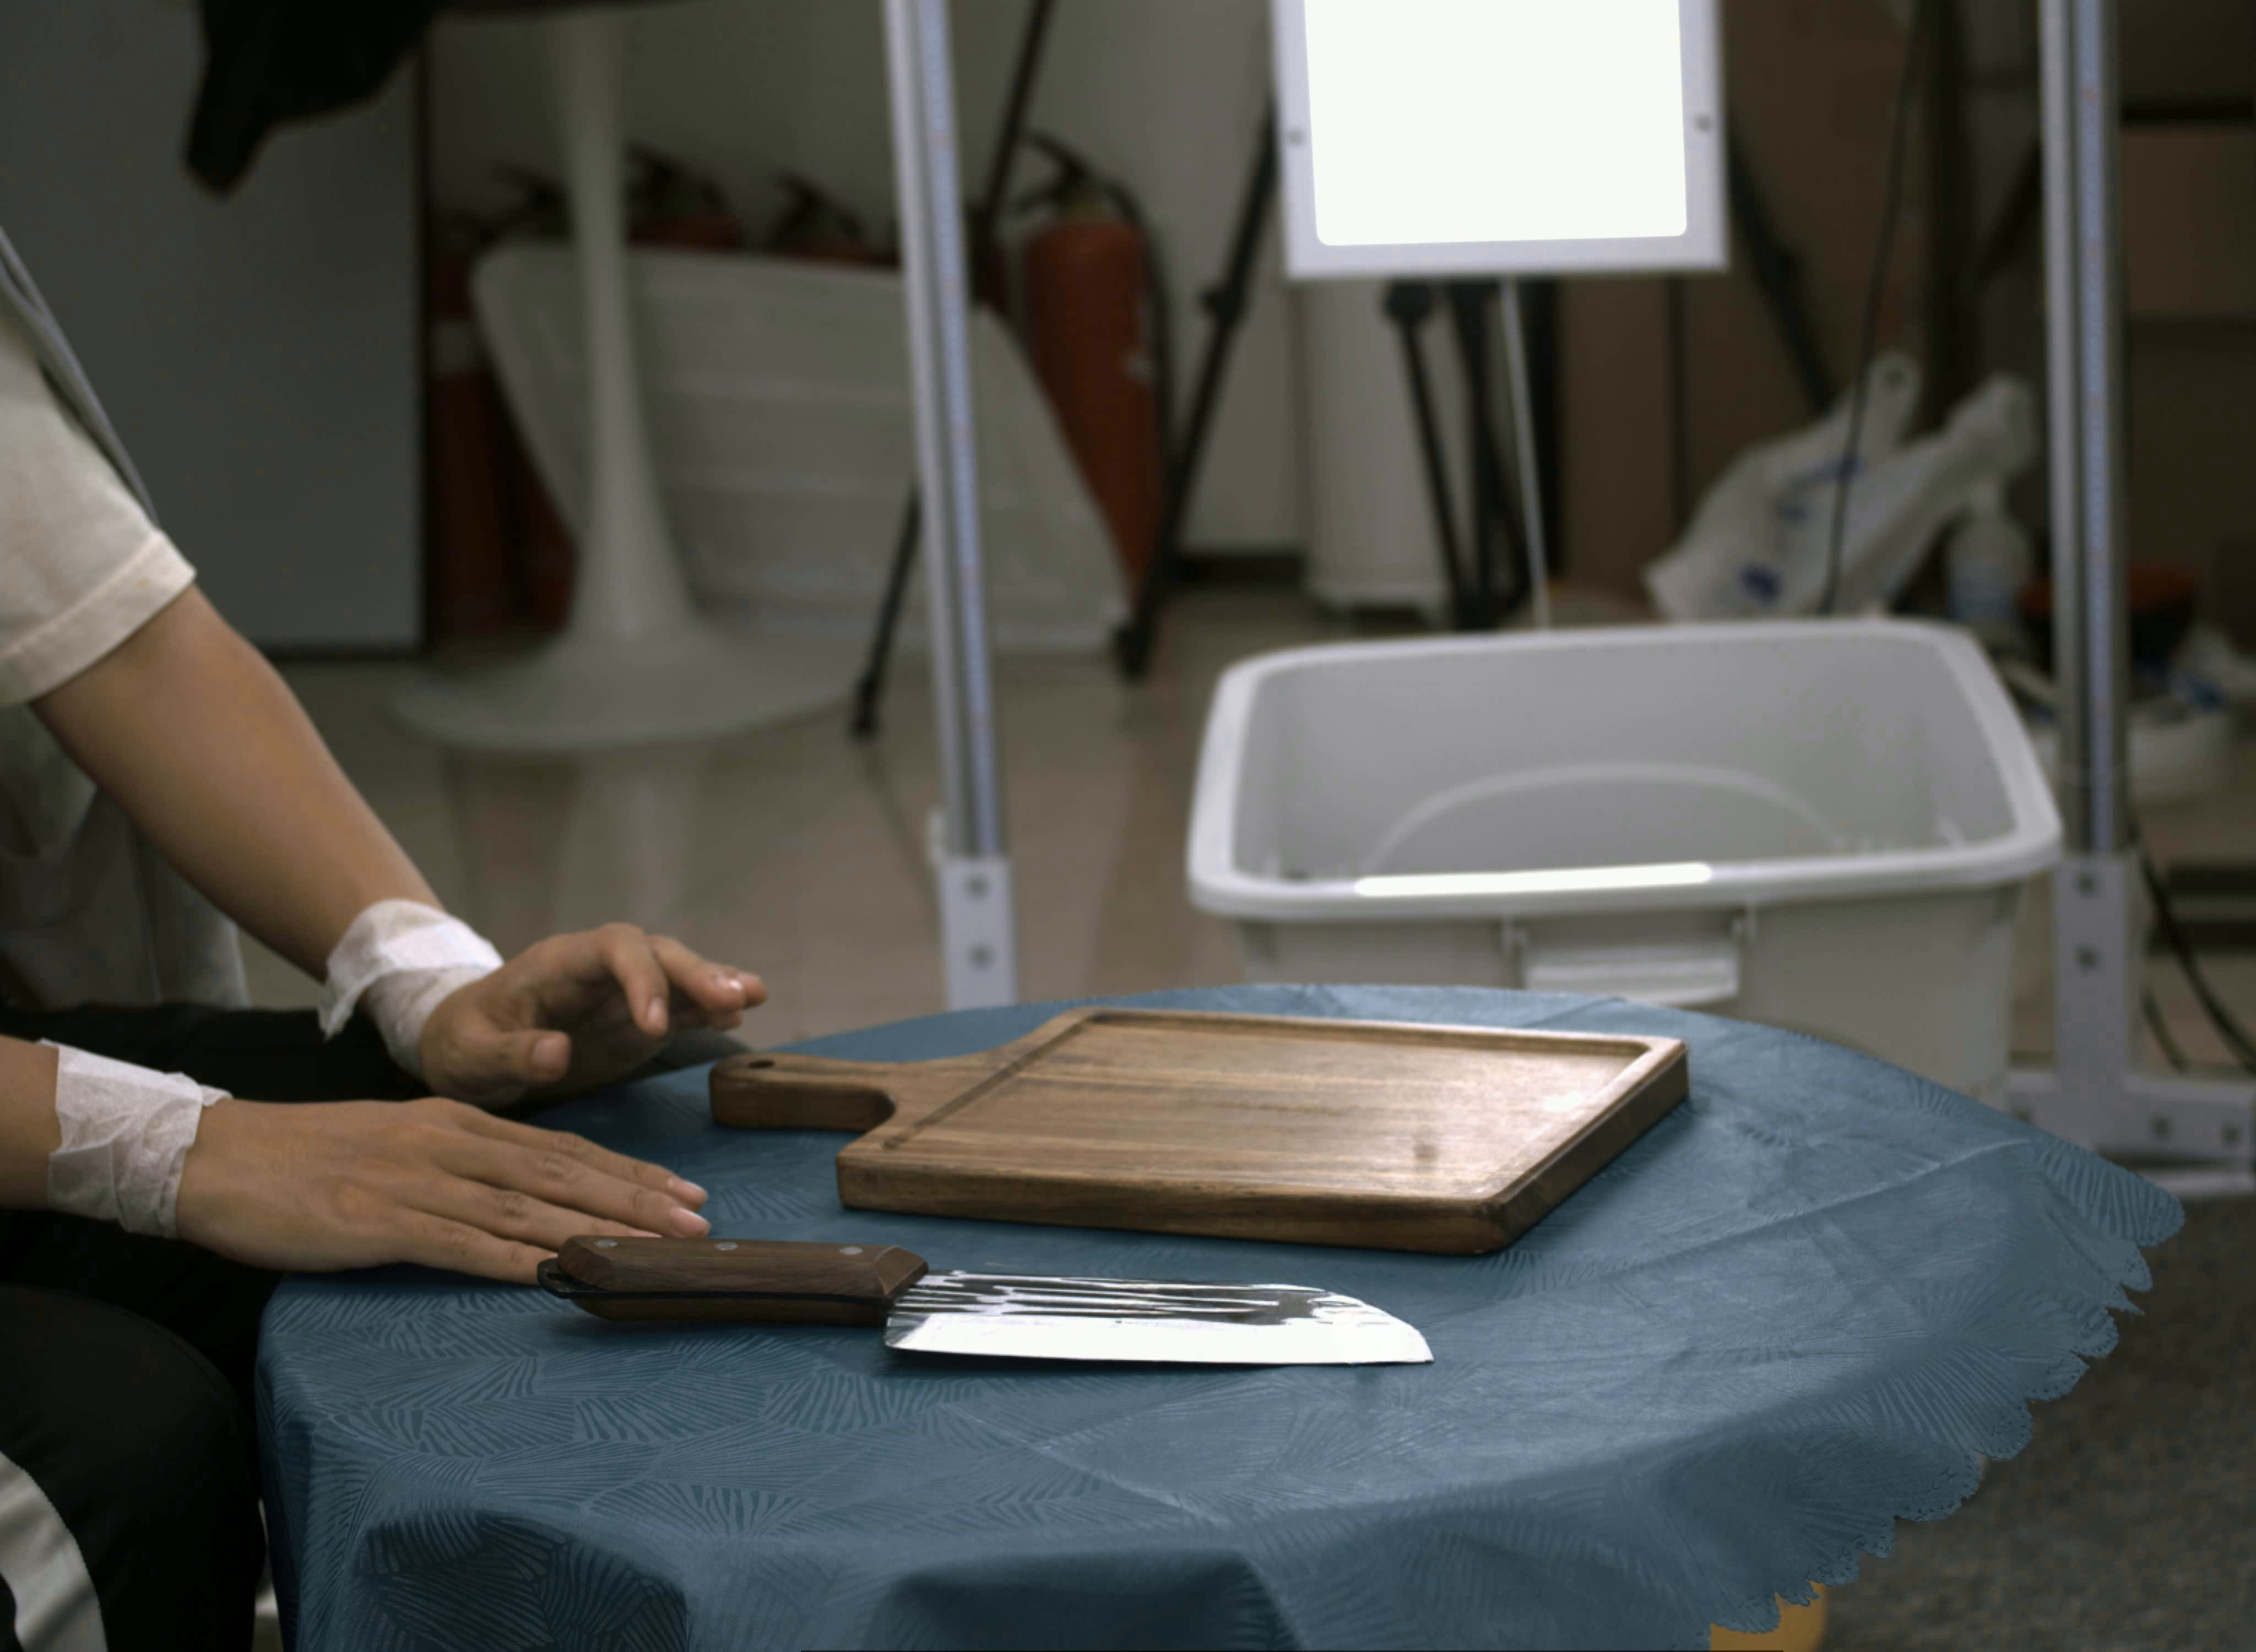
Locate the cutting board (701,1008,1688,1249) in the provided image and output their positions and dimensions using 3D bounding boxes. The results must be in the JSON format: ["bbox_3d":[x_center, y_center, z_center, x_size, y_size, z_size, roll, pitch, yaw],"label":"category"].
[{"bbox_3d":[0.005,0.102,1.953,0.358,0.023,0.197,1,15,28],"label":"cutting board"}]

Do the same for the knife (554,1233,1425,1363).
[{"bbox_3d":[-0.049,0.154,1.759,0.302,0.024,0.067,2,17,16],"label":"knife"}]
